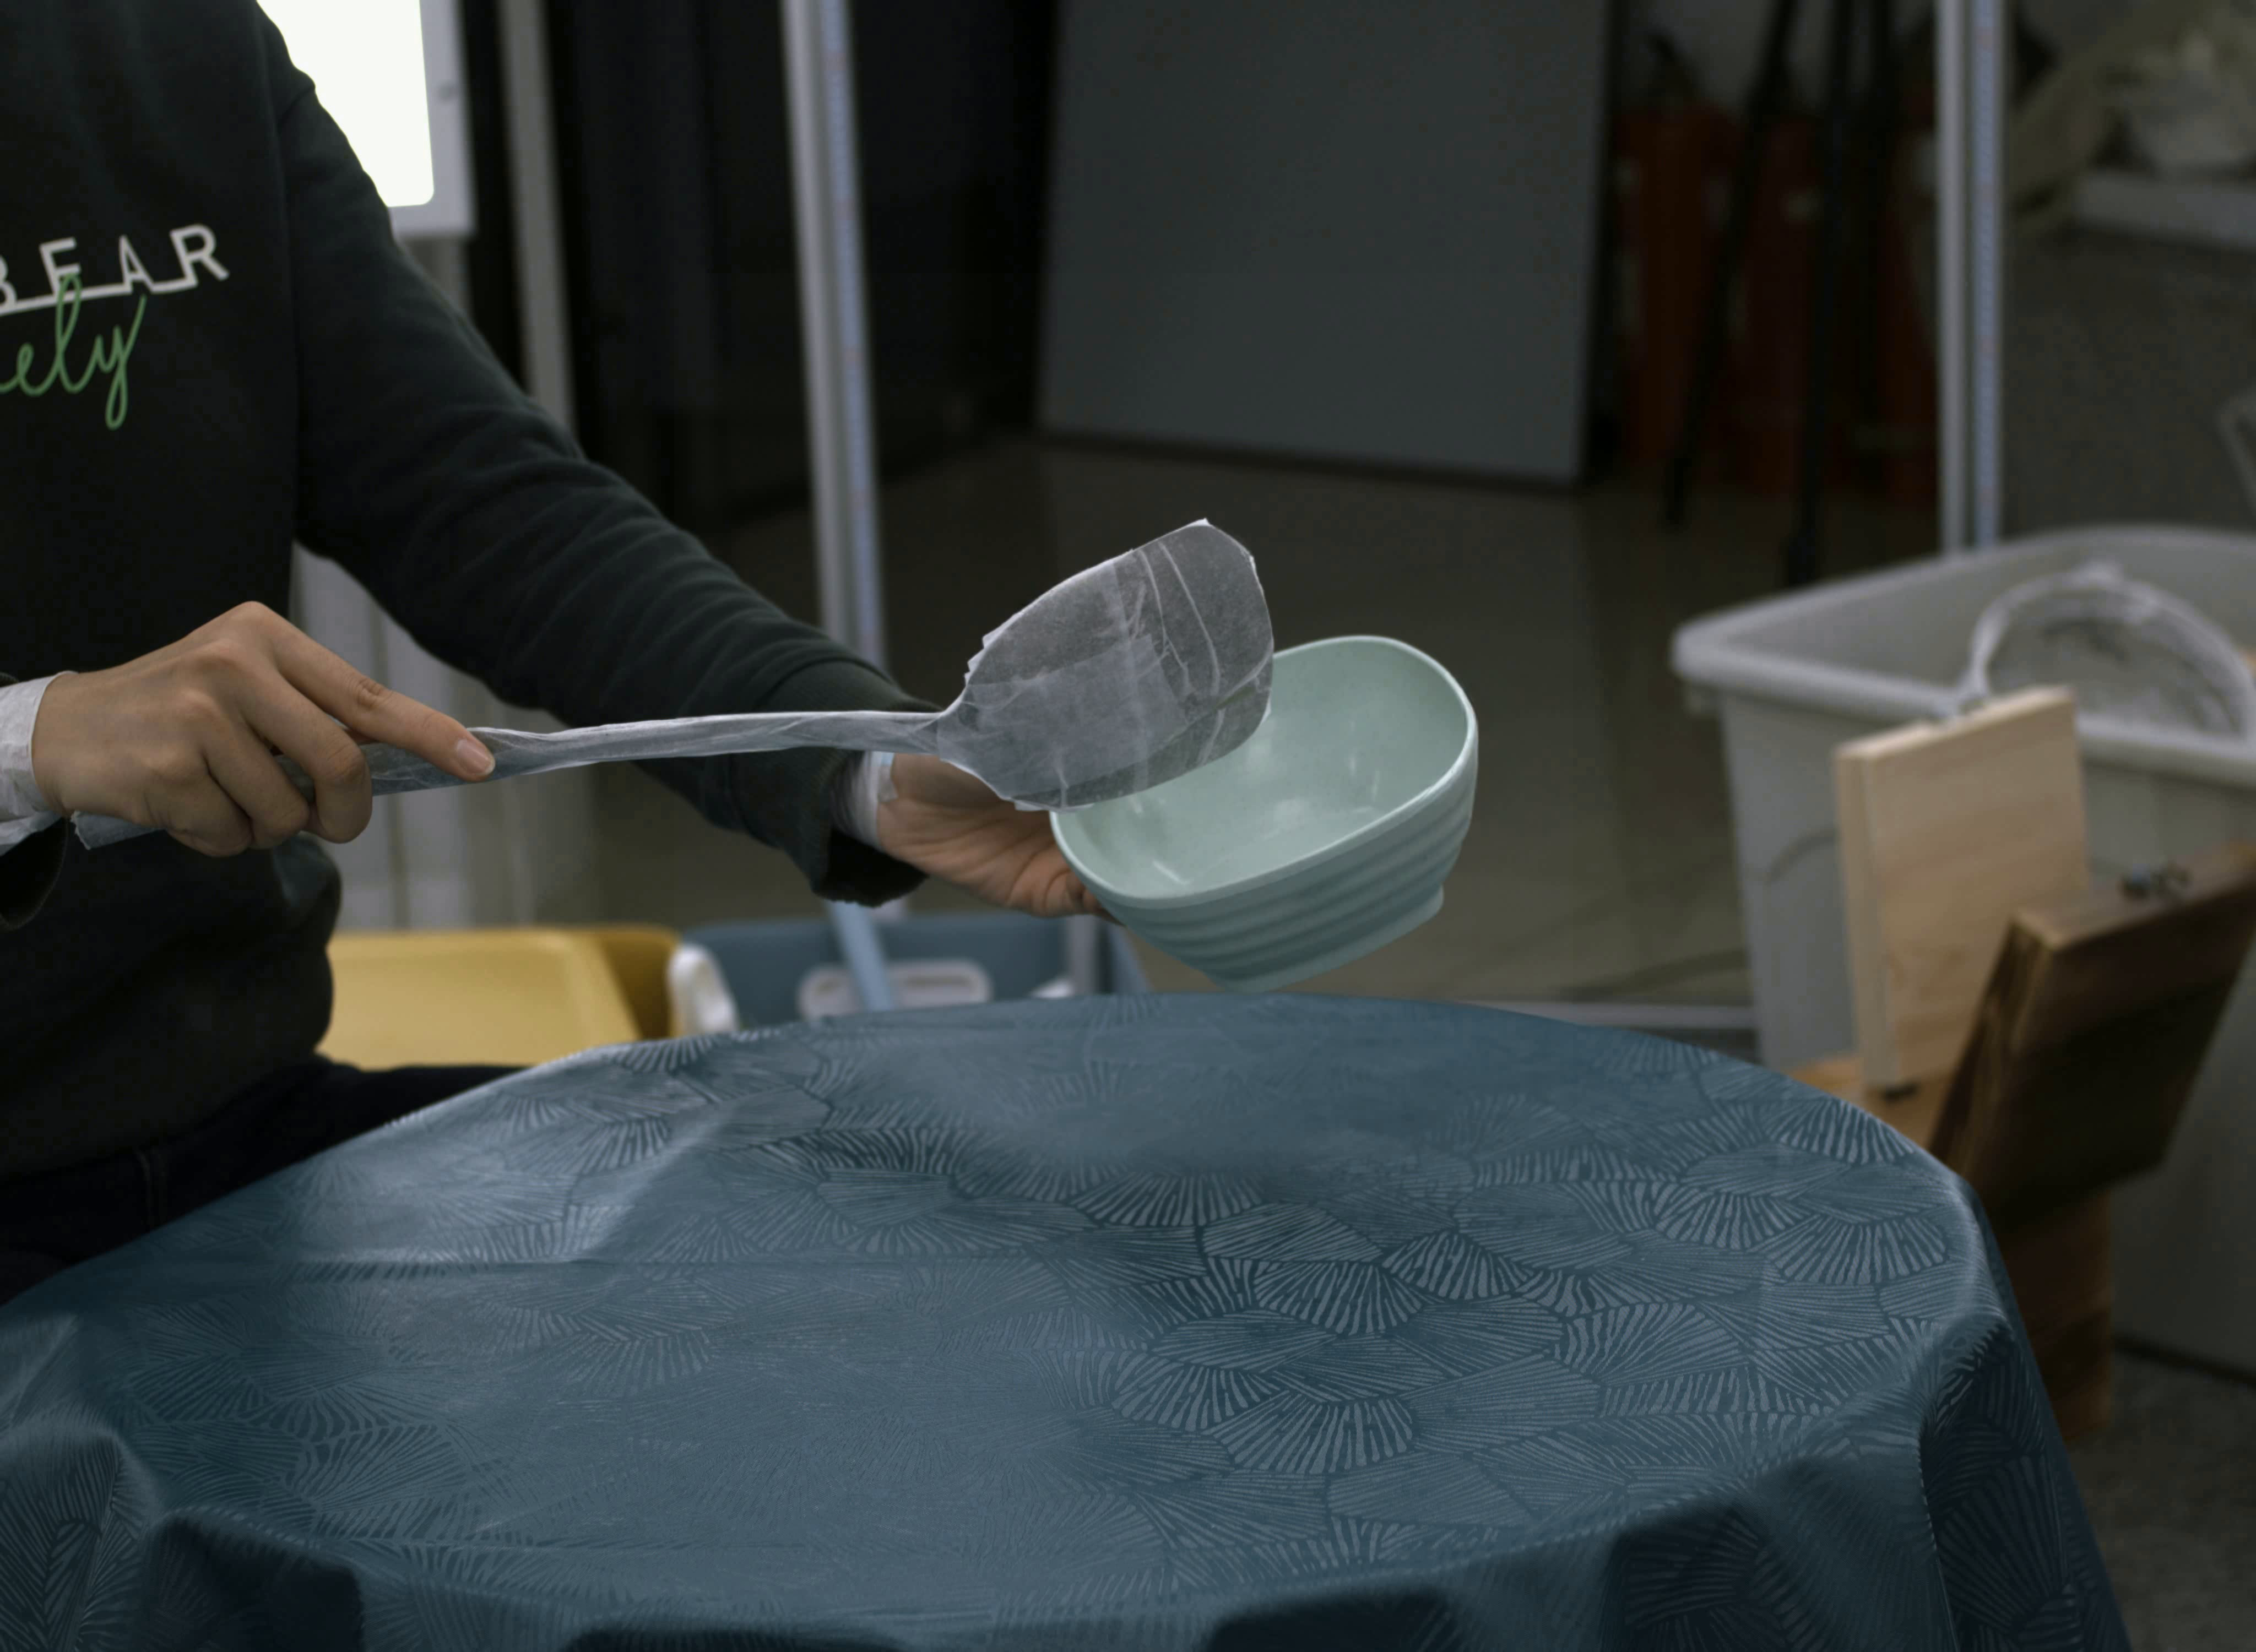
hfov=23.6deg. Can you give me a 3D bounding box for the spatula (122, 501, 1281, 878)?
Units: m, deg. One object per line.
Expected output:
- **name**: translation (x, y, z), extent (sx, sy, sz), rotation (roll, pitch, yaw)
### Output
- **spatula**: translation (-0.132, -0.029, 1.646), extent (0.361, 0.099, 0.045), rotation (-7, 45, 7)

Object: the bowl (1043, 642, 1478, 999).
- **bowl**: translation (0.048, 0.004, 1.721), extent (0.150, 0.059, 0.152), rotation (-15, 27, 7)
